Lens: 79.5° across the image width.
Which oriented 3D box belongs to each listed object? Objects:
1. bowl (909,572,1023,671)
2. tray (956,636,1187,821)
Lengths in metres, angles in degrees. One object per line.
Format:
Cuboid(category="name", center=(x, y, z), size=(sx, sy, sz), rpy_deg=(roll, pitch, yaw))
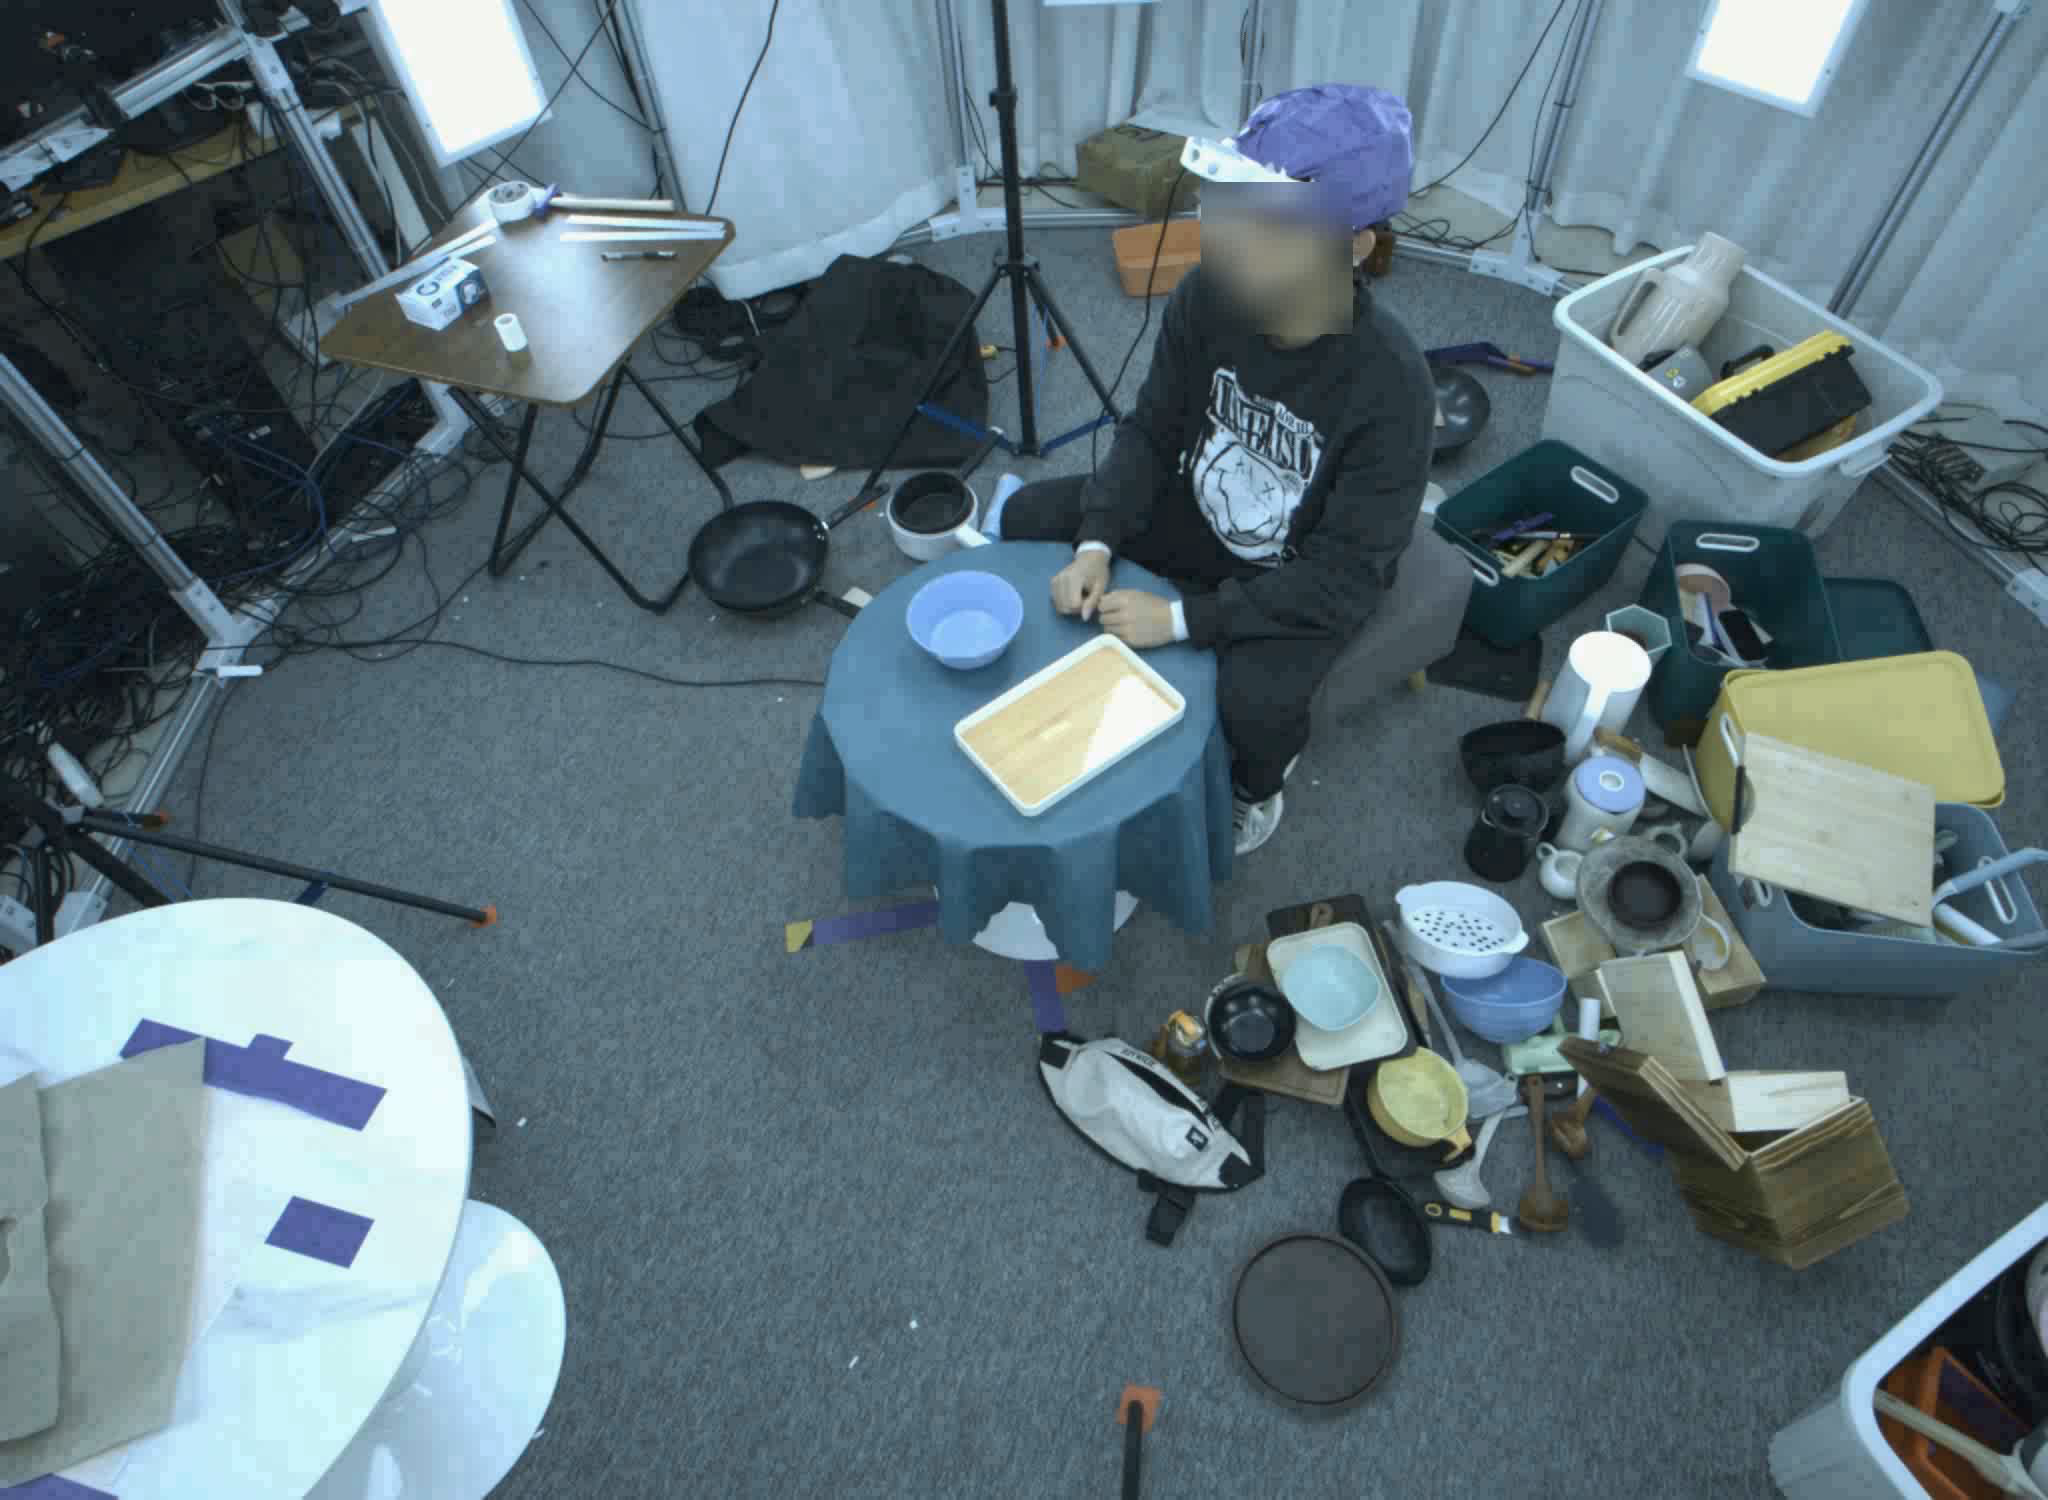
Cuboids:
Cuboid(category="bowl", center=(-0.086, -0.187, 1.888), size=(0.176, 0.071, 0.174), rpy_deg=(-1, 56, 2))
Cuboid(category="tray", center=(0.071, -0.037, 1.806), size=(0.302, 0.028, 0.188), rpy_deg=(-33, 60, -19))
